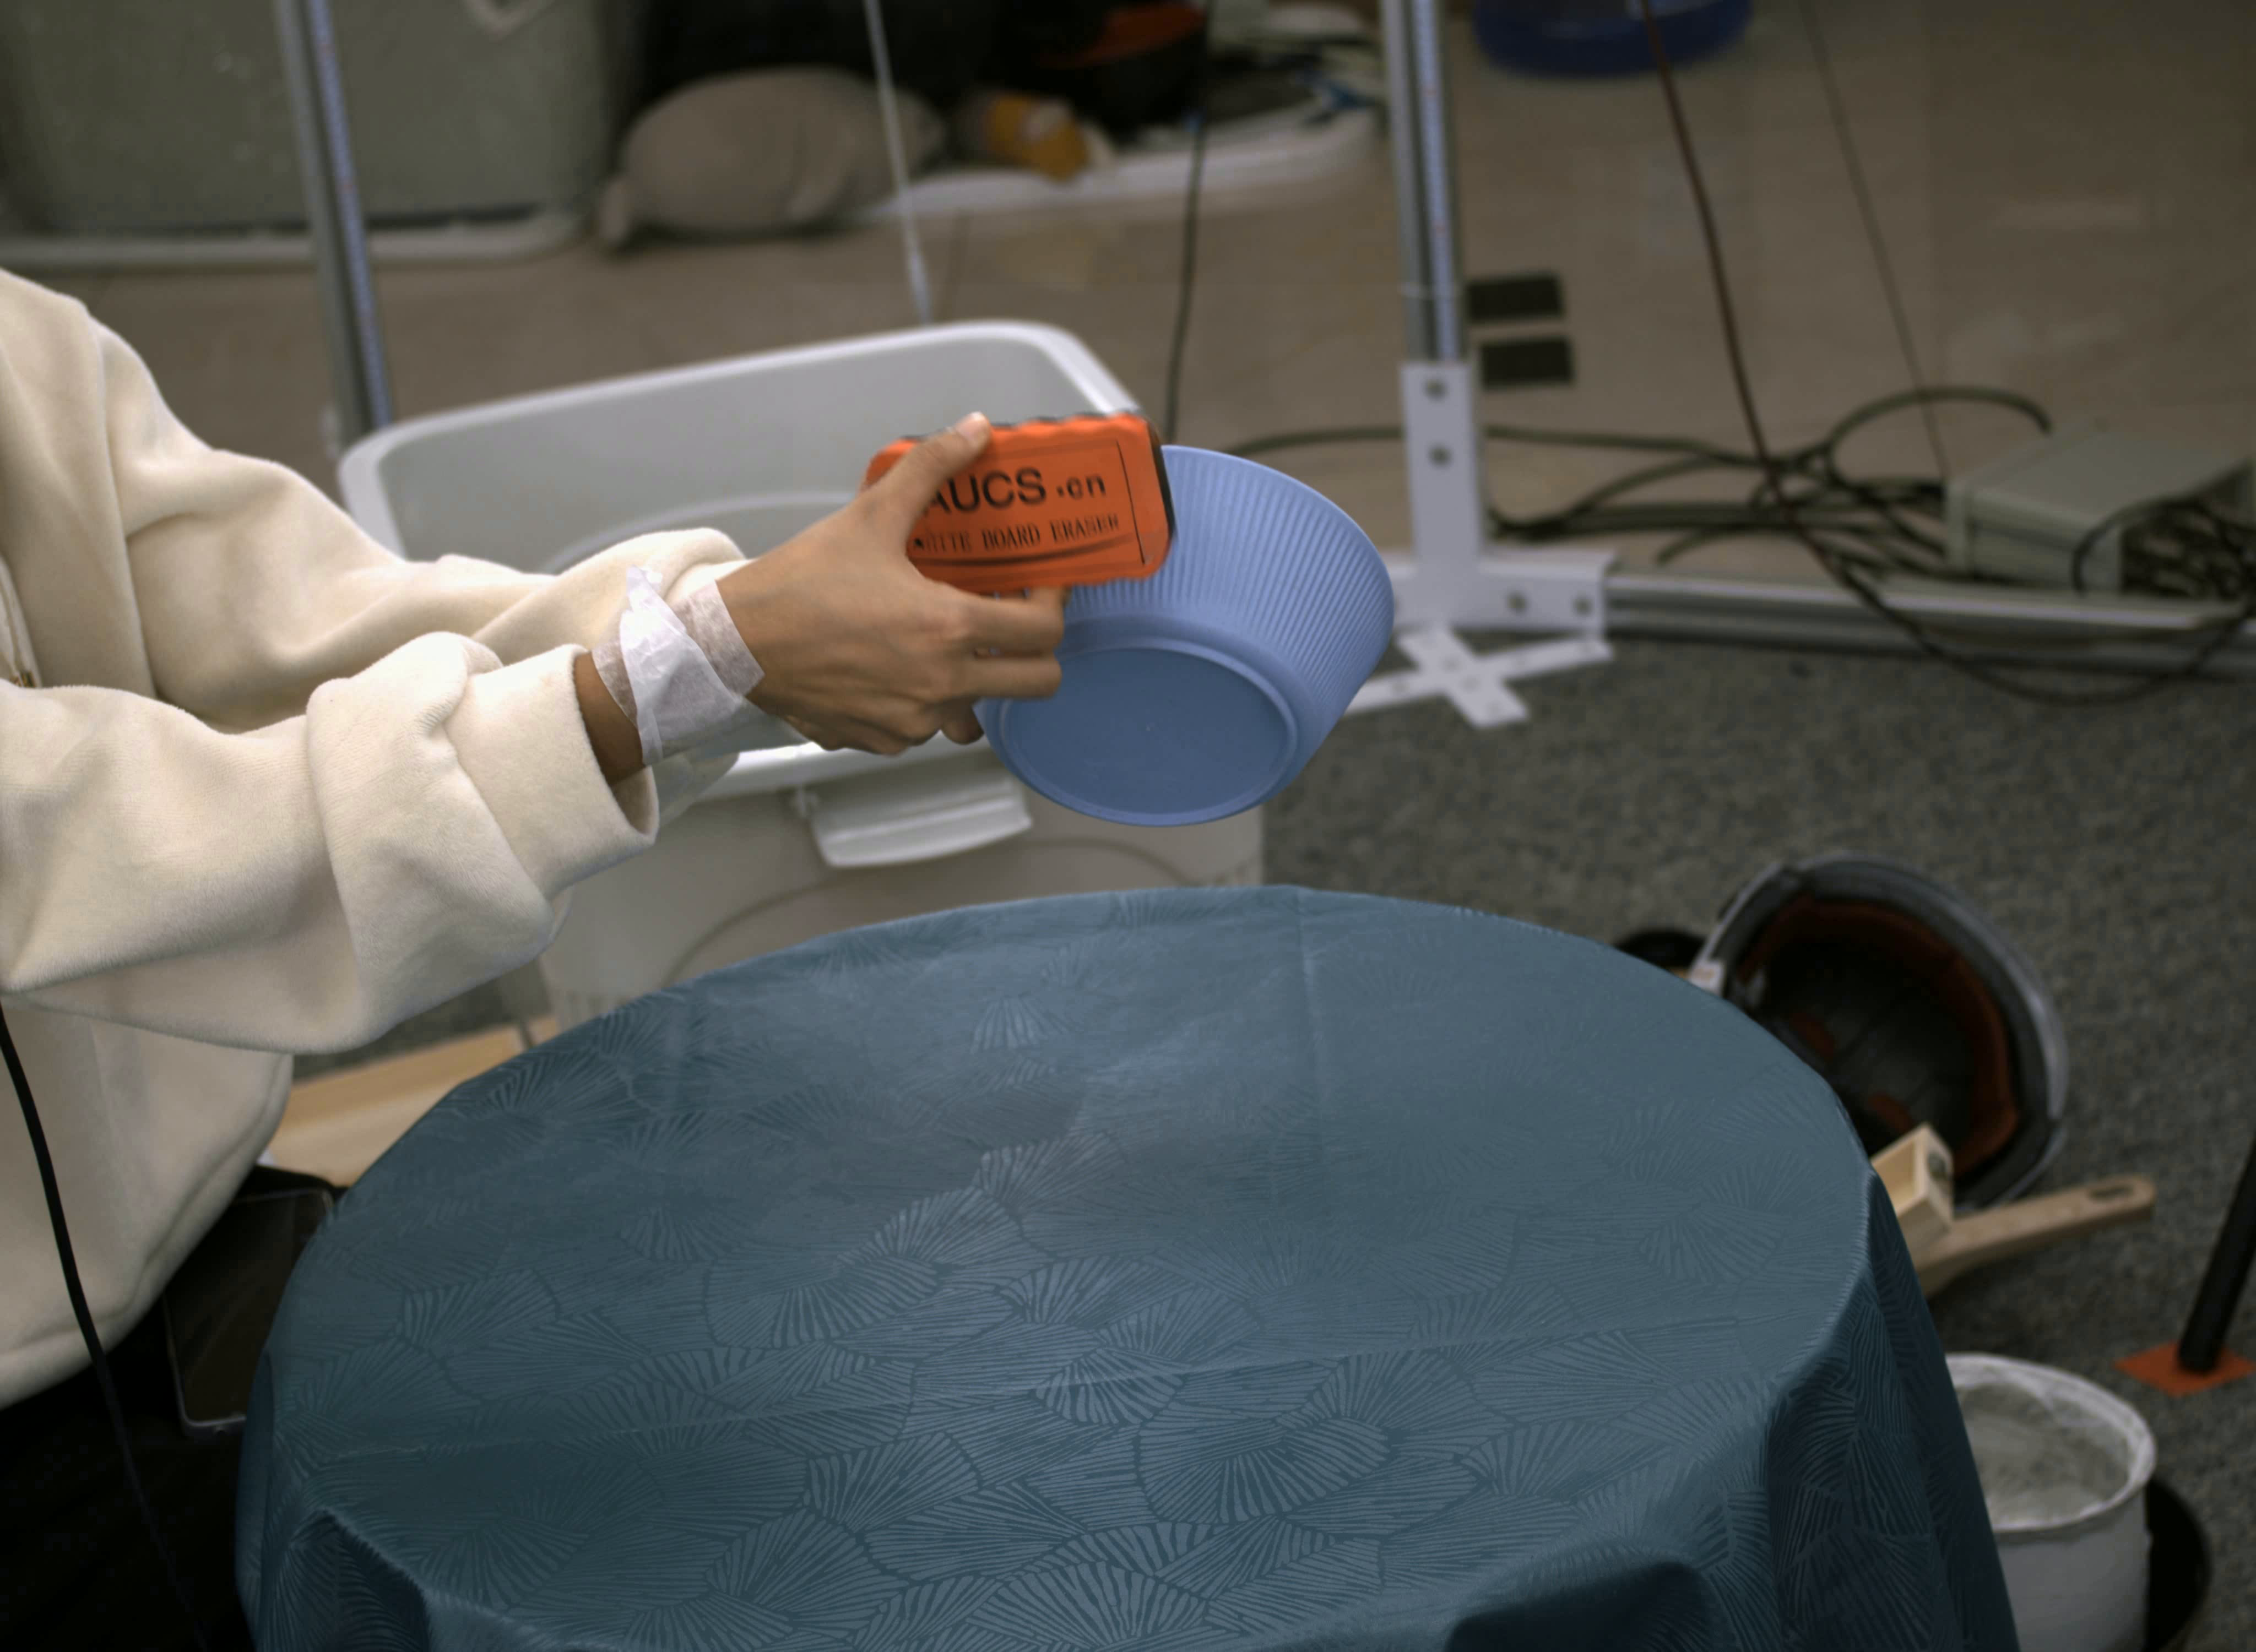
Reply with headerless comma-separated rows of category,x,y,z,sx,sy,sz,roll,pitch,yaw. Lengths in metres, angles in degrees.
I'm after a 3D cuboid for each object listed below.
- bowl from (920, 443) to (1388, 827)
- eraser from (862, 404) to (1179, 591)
bowl,0.008,-0.060,2.097,0.176,0.179,0.069,-2,53,8
eraser,-0.038,-0.116,1.996,0.108,0.060,0.022,-3,22,26
